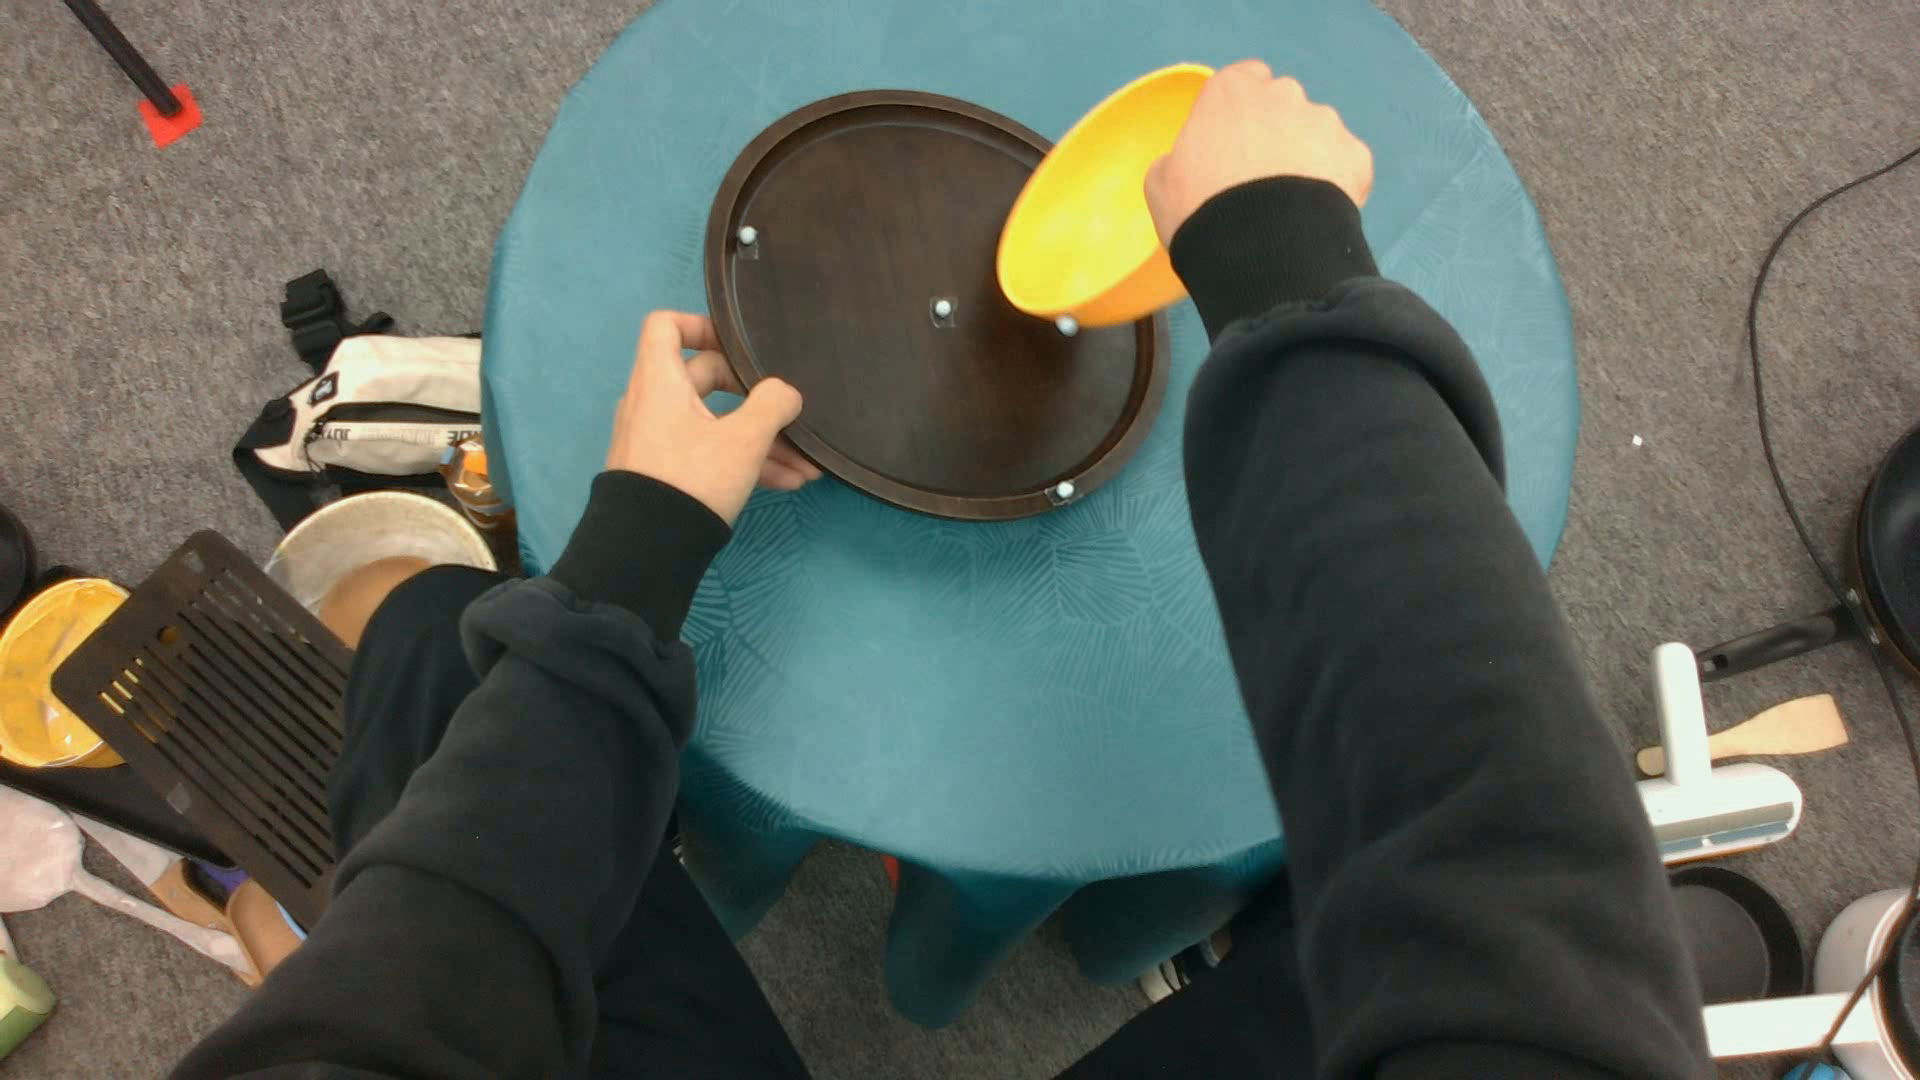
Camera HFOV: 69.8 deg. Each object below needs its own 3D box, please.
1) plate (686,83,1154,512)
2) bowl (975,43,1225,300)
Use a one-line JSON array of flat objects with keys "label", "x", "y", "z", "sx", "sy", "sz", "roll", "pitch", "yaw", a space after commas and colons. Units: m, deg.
[{"label": "plate", "x": -0.016, "y": -0.129, "z": 0.714, "sx": 0.255, "sy": 0.029, "sz": 0.255, "roll": 9, "pitch": 66, "yaw": -20}, {"label": "bowl", "x": 0.080, "y": -0.174, "z": 0.698, "sx": 0.060, "sy": 0.145, "sz": 0.146, "roll": 36, "pitch": 67, "yaw": -38}]
